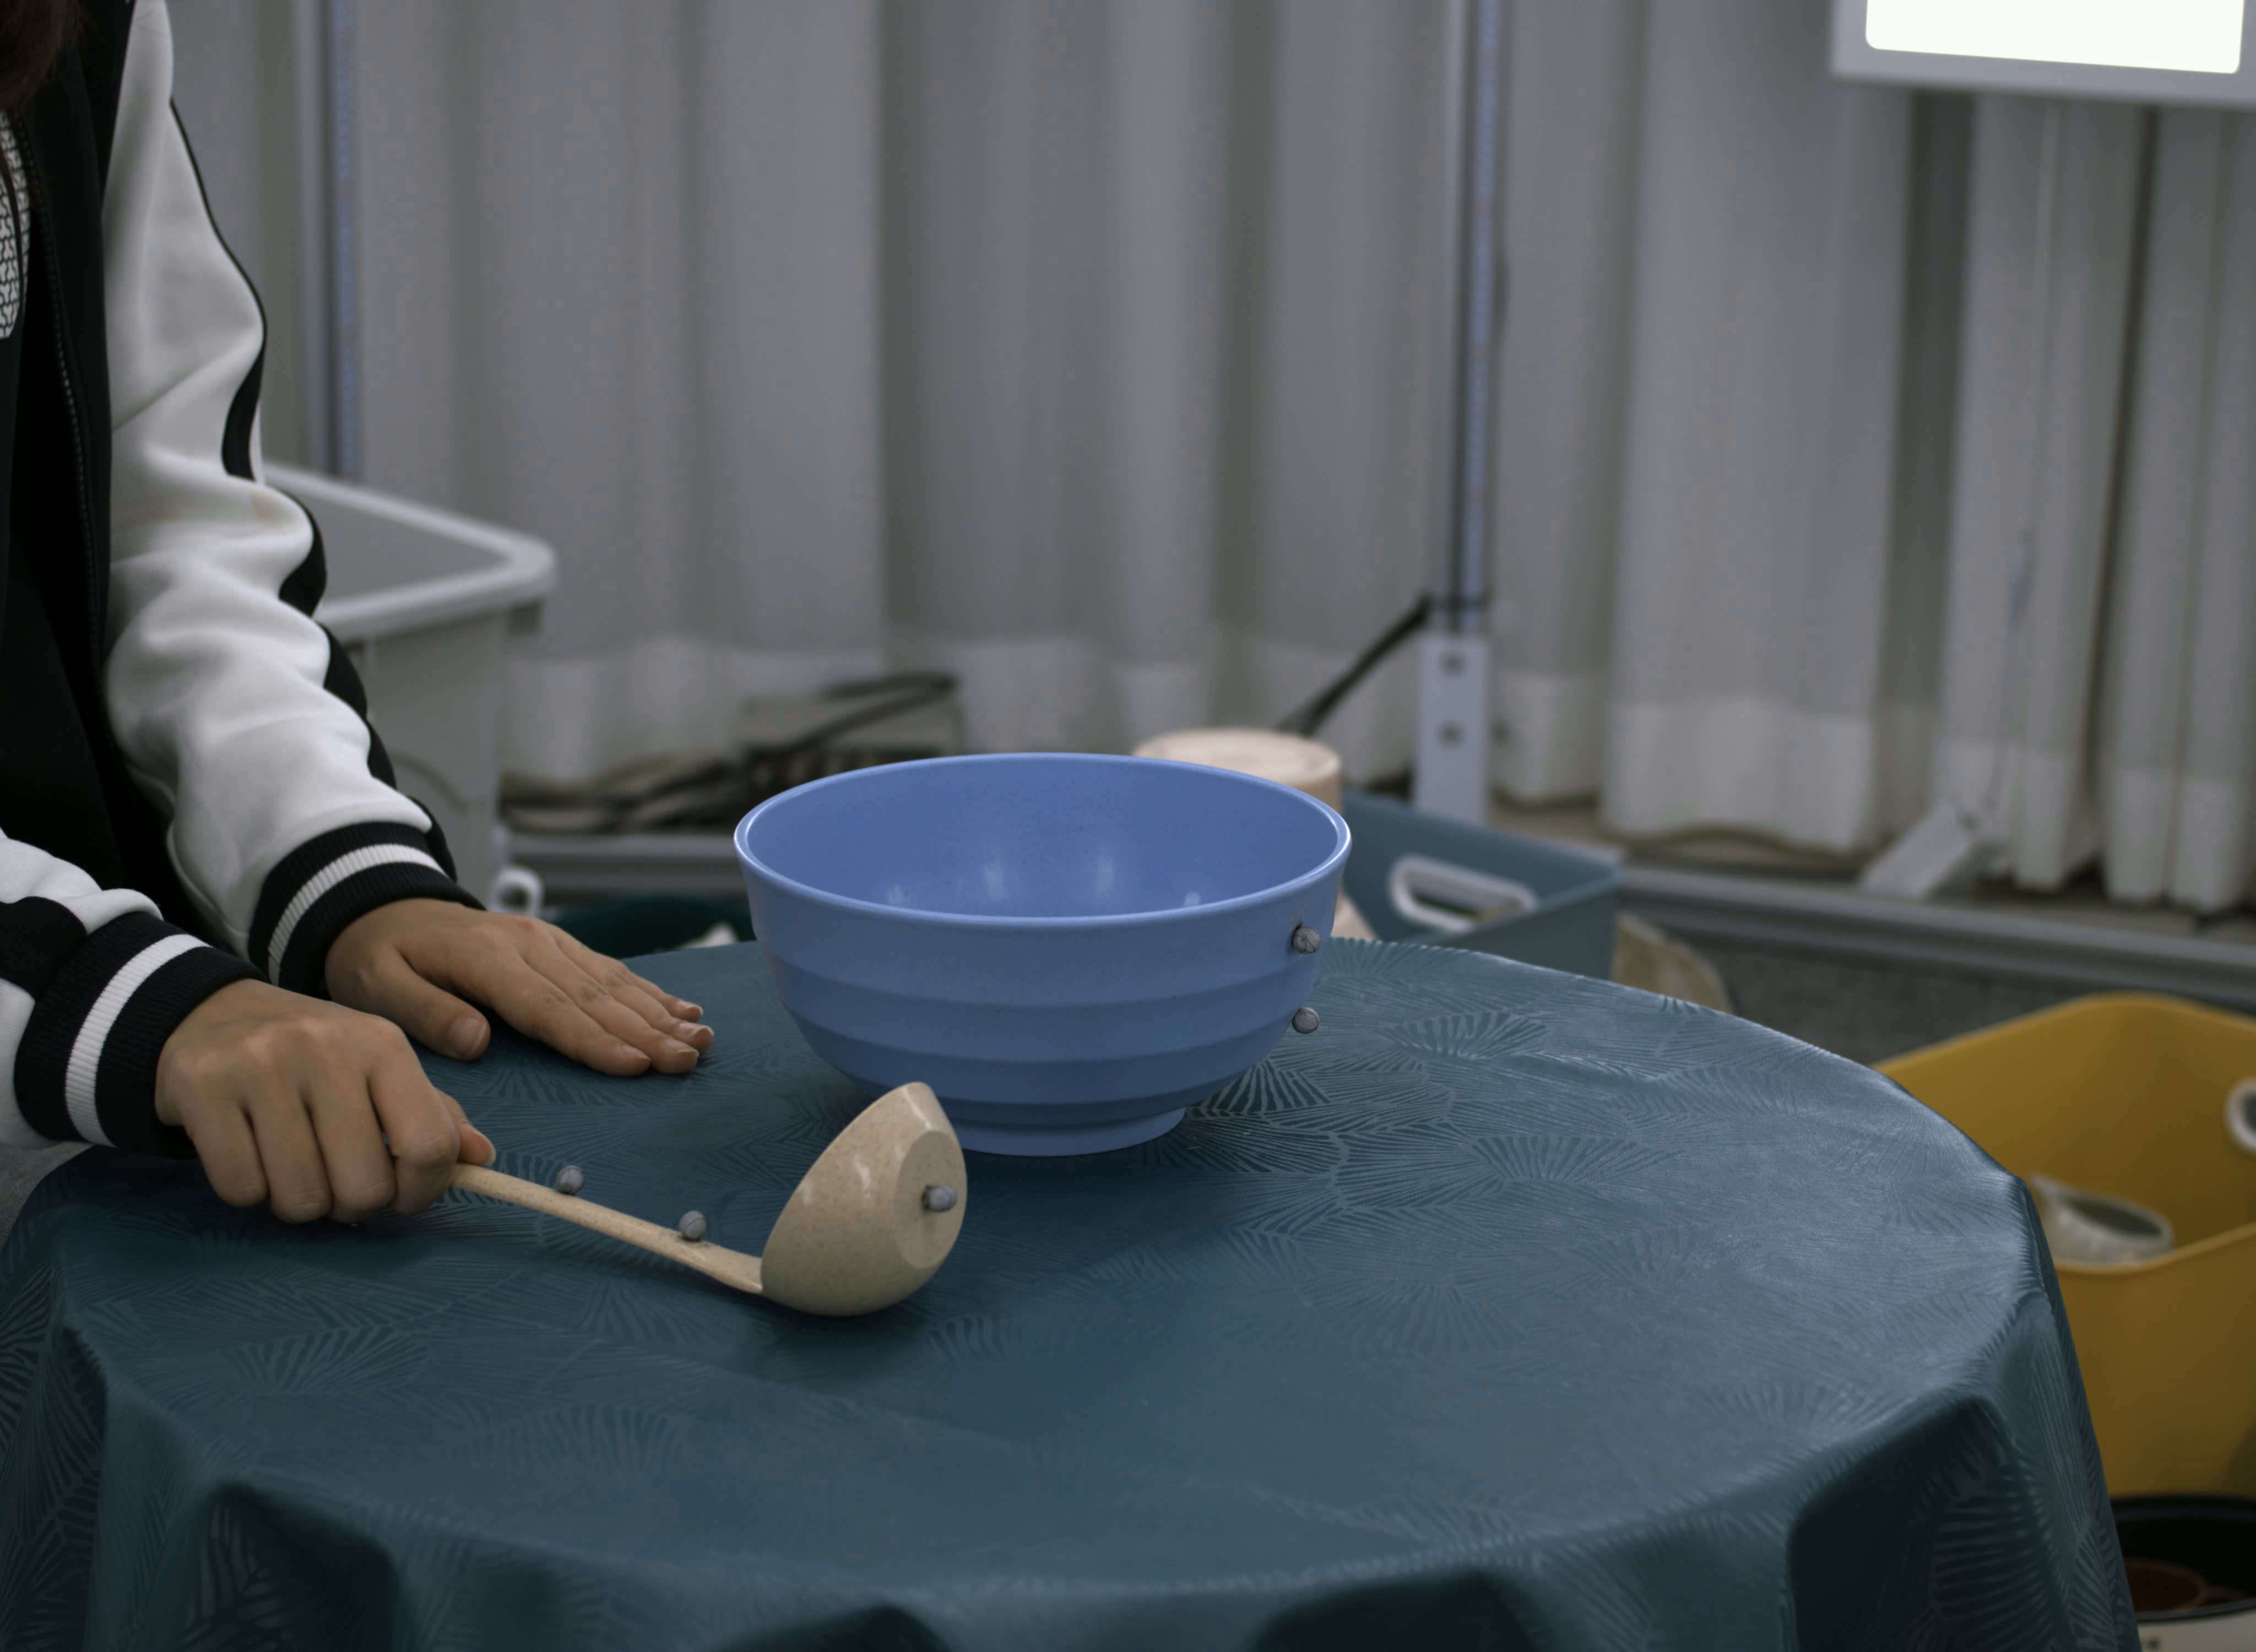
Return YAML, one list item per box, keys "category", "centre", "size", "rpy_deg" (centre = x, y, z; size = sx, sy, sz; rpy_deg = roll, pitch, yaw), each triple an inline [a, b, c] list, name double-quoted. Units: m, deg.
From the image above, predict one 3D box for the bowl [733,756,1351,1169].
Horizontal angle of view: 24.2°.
- category: "bowl"
  centre: [-0.026, 0.050, 1.682]
  size: [0.196, 0.096, 0.195]
  rpy_deg: [-1, 17, 1]

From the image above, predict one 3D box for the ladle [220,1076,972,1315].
- category: "ladle"
  centre: [-0.164, 0.088, 1.552]
  size: [0.251, 0.073, 0.072]
  rpy_deg: [11, 15, 26]
